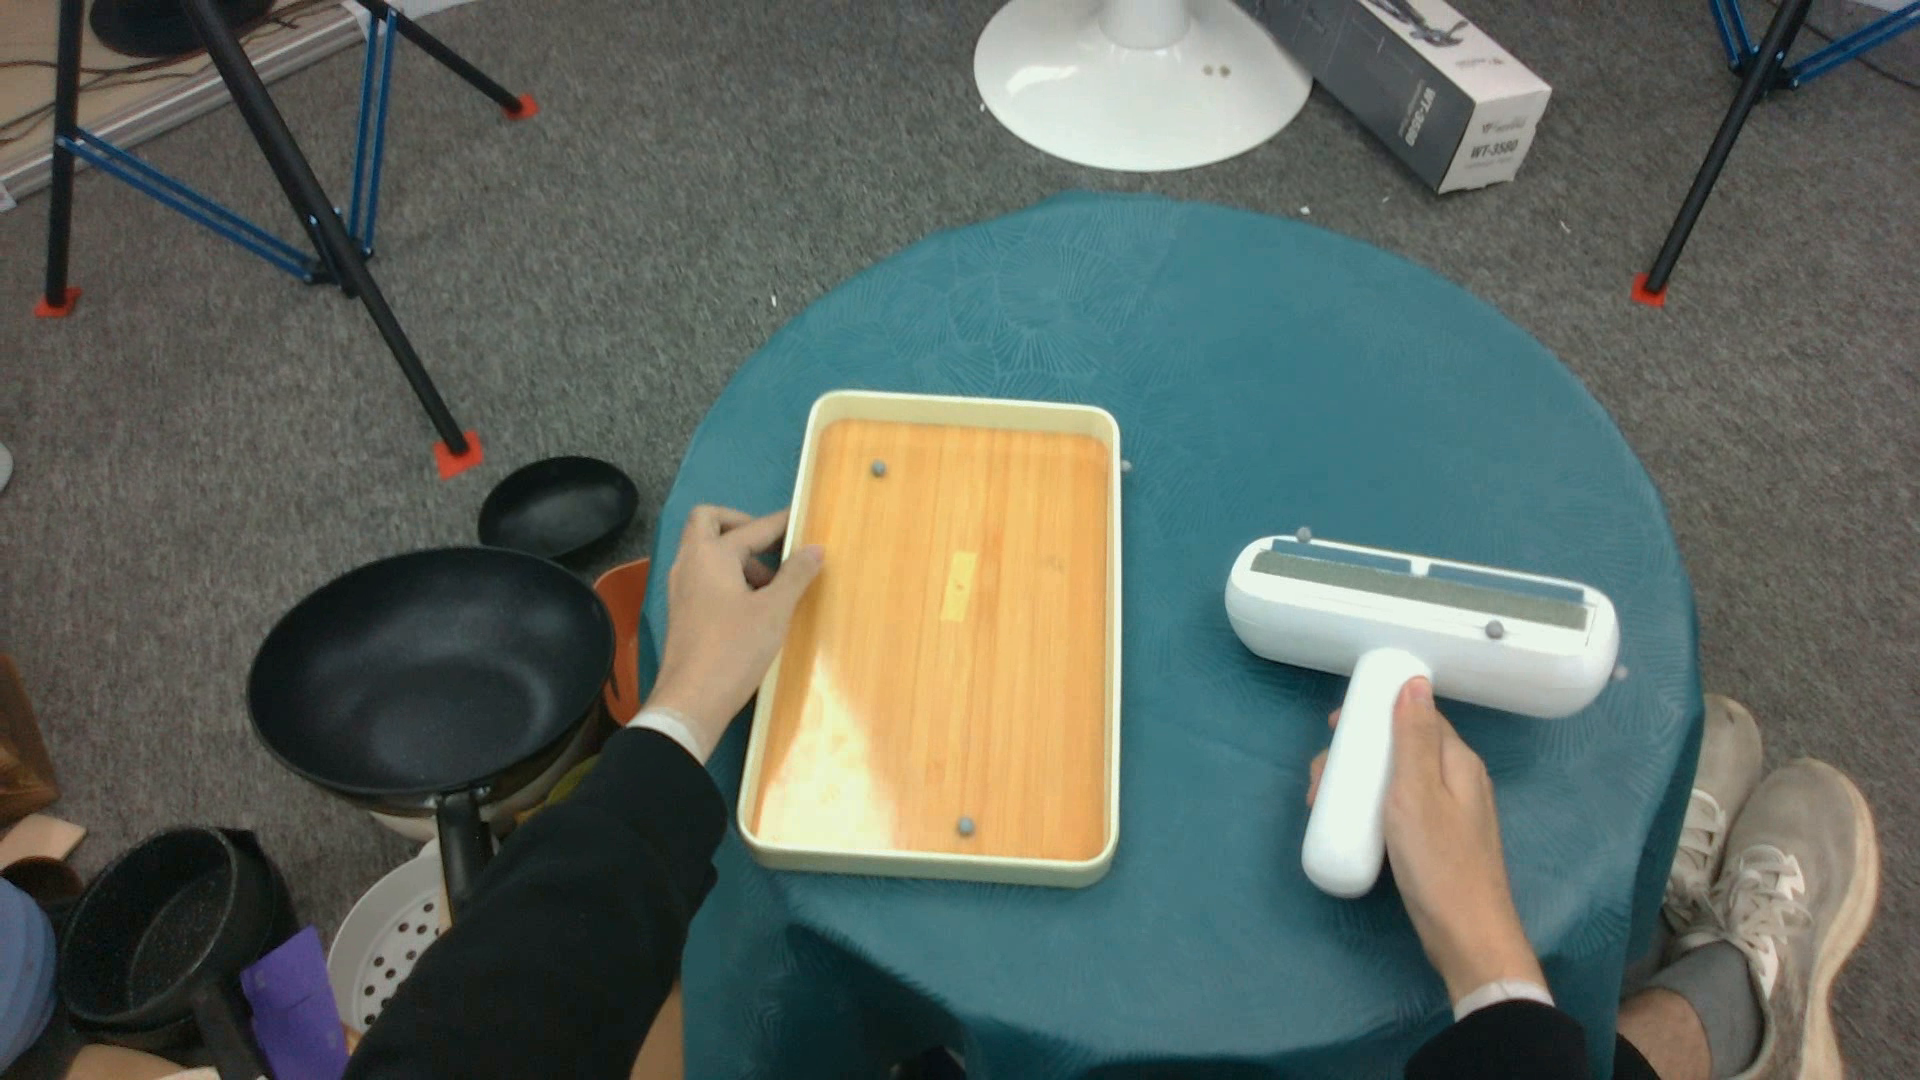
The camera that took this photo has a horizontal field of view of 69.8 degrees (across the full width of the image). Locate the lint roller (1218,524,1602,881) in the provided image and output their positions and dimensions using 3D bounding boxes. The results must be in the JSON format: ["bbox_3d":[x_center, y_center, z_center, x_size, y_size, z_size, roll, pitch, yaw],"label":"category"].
[{"bbox_3d":[0.202,0.080,0.690,0.192,0.074,0.193,17,49,25],"label":"lint roller"}]

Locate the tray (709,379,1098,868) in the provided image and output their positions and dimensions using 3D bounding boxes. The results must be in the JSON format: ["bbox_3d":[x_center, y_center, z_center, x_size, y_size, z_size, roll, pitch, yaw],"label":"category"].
[{"bbox_3d":[-0.021,0.032,0.765,0.191,0.027,0.301,4,53,2],"label":"tray"}]
